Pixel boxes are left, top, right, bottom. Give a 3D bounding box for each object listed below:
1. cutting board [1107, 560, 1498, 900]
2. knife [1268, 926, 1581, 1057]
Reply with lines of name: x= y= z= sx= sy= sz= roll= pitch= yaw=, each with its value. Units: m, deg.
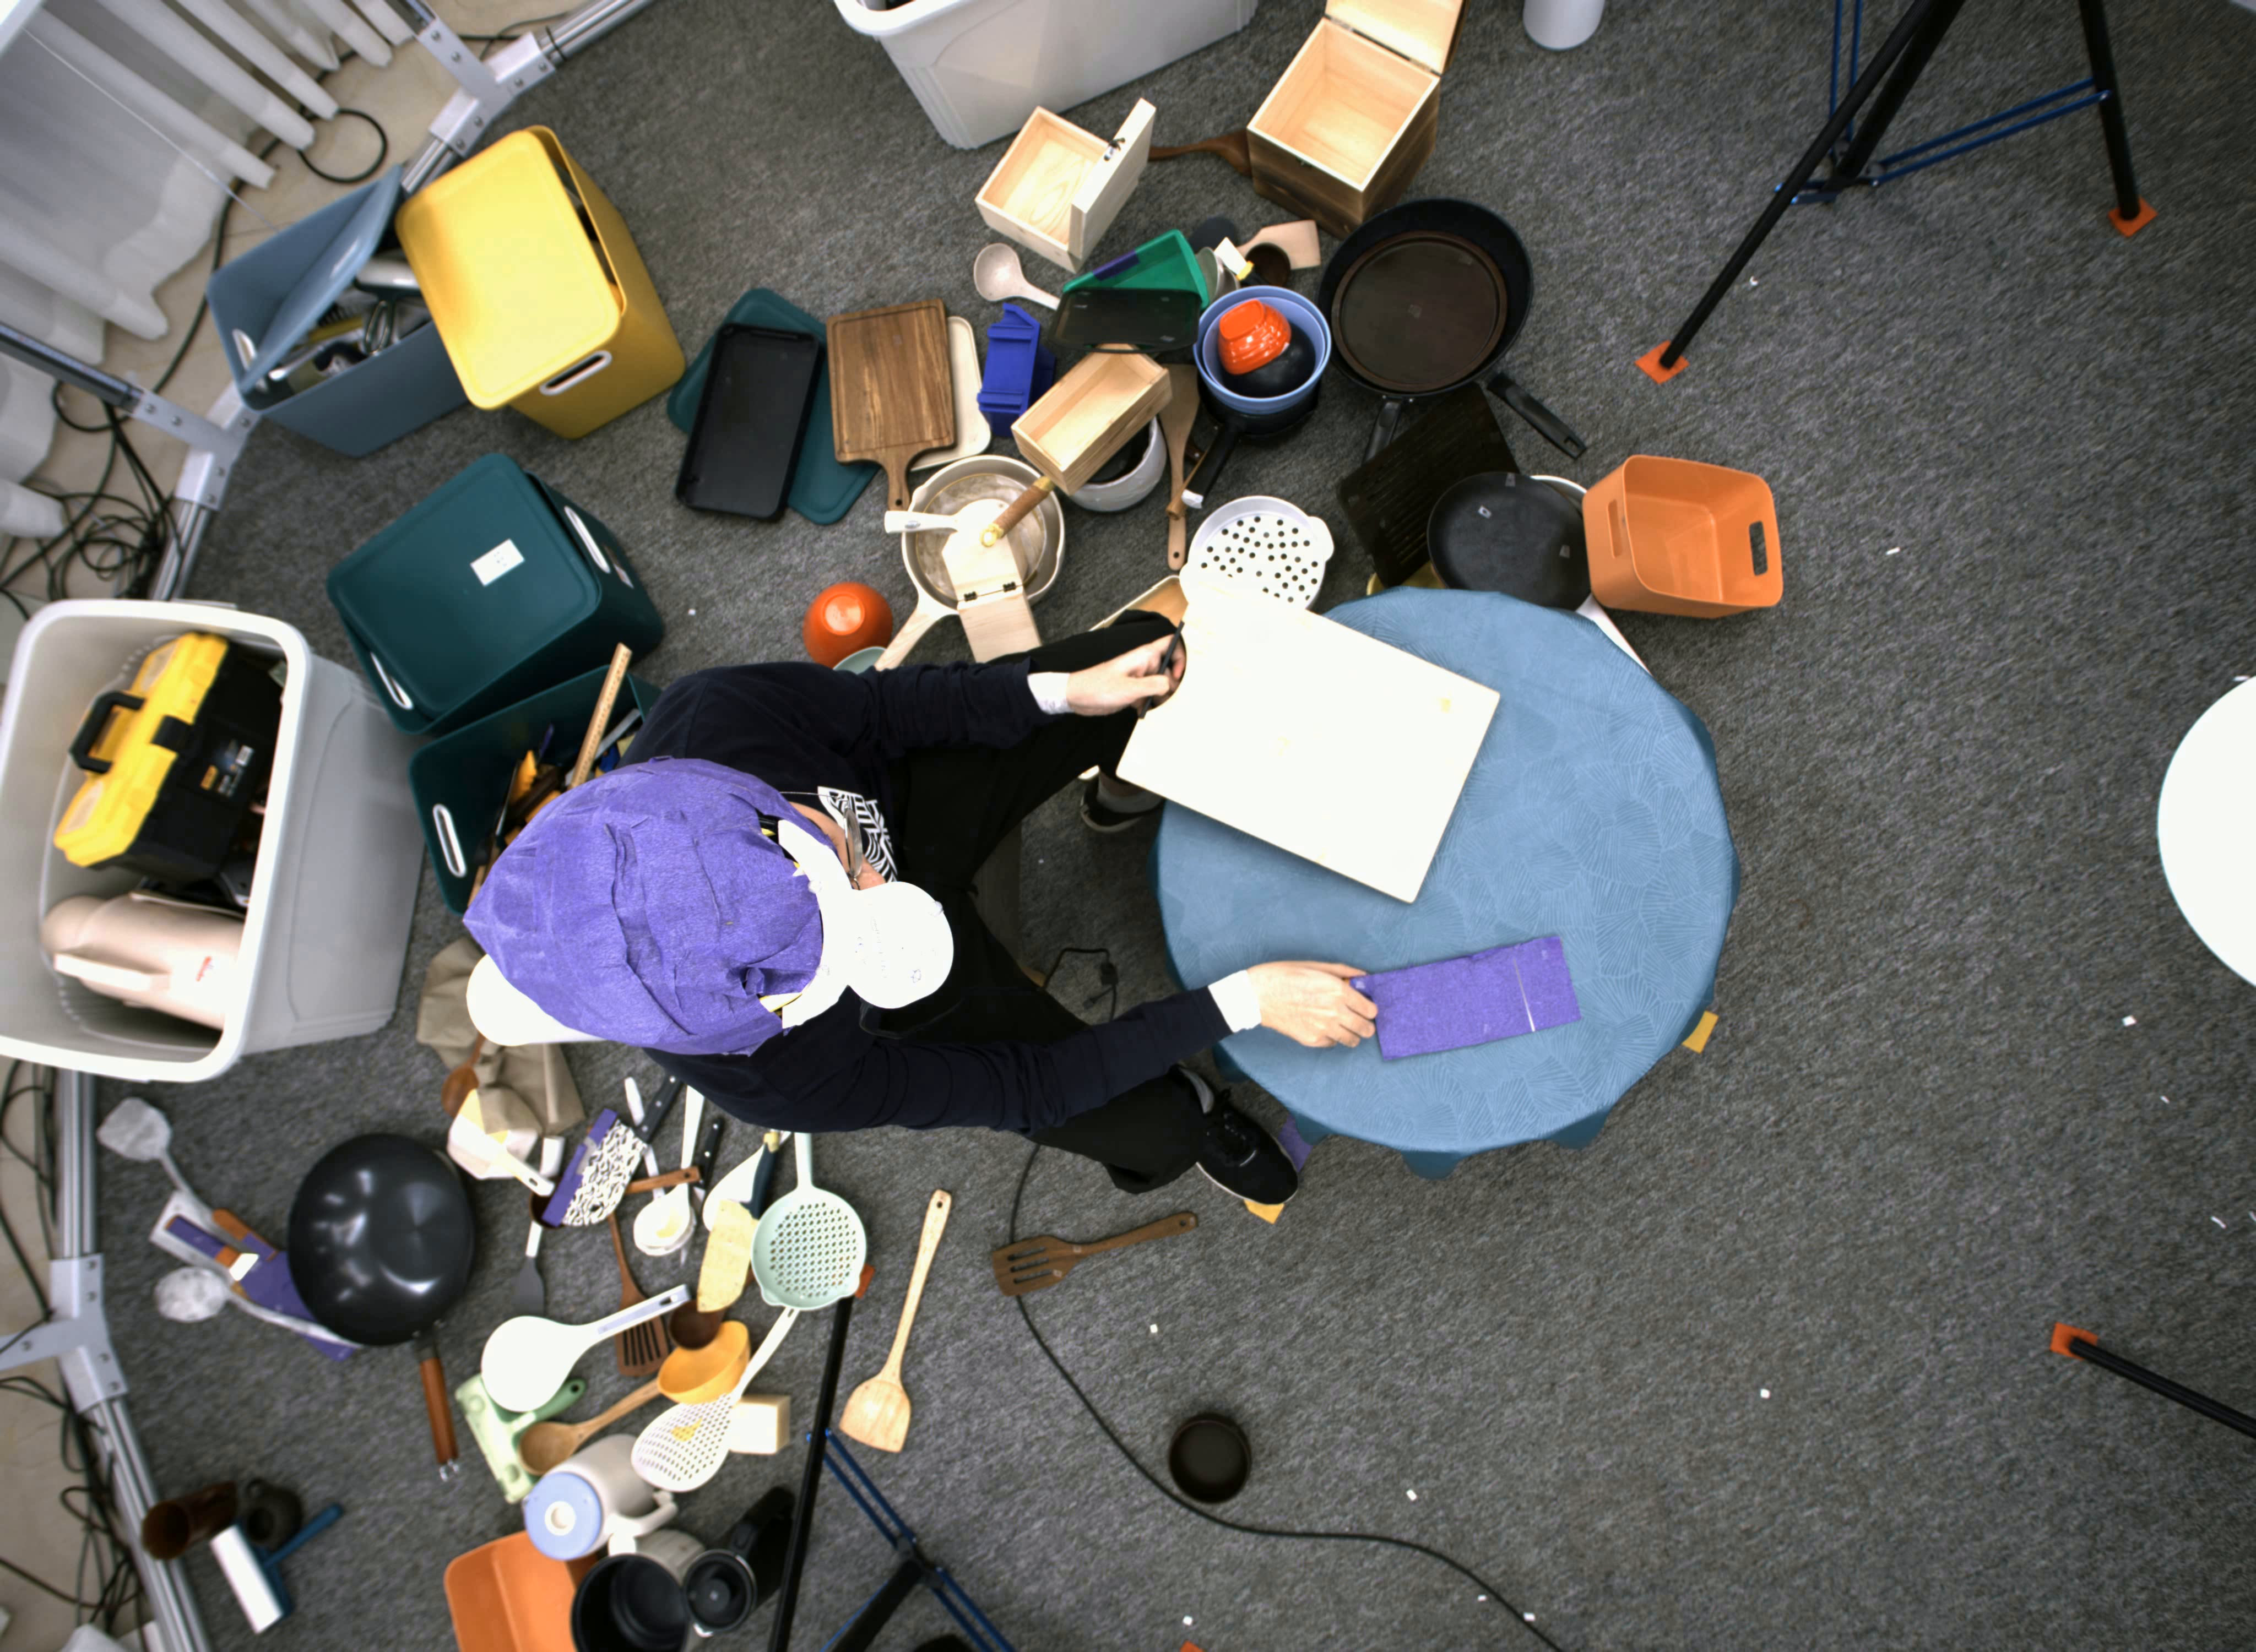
cutting board: x=0.183 y=-0.100 z=1.445 sx=0.349 sy=0.023 sz=0.250 roll=22 pitch=91 yaw=0
knife: x=0.307 y=0.185 z=1.433 sx=0.317 sy=0.032 sz=0.103 roll=-14 pitch=85 yaw=9
